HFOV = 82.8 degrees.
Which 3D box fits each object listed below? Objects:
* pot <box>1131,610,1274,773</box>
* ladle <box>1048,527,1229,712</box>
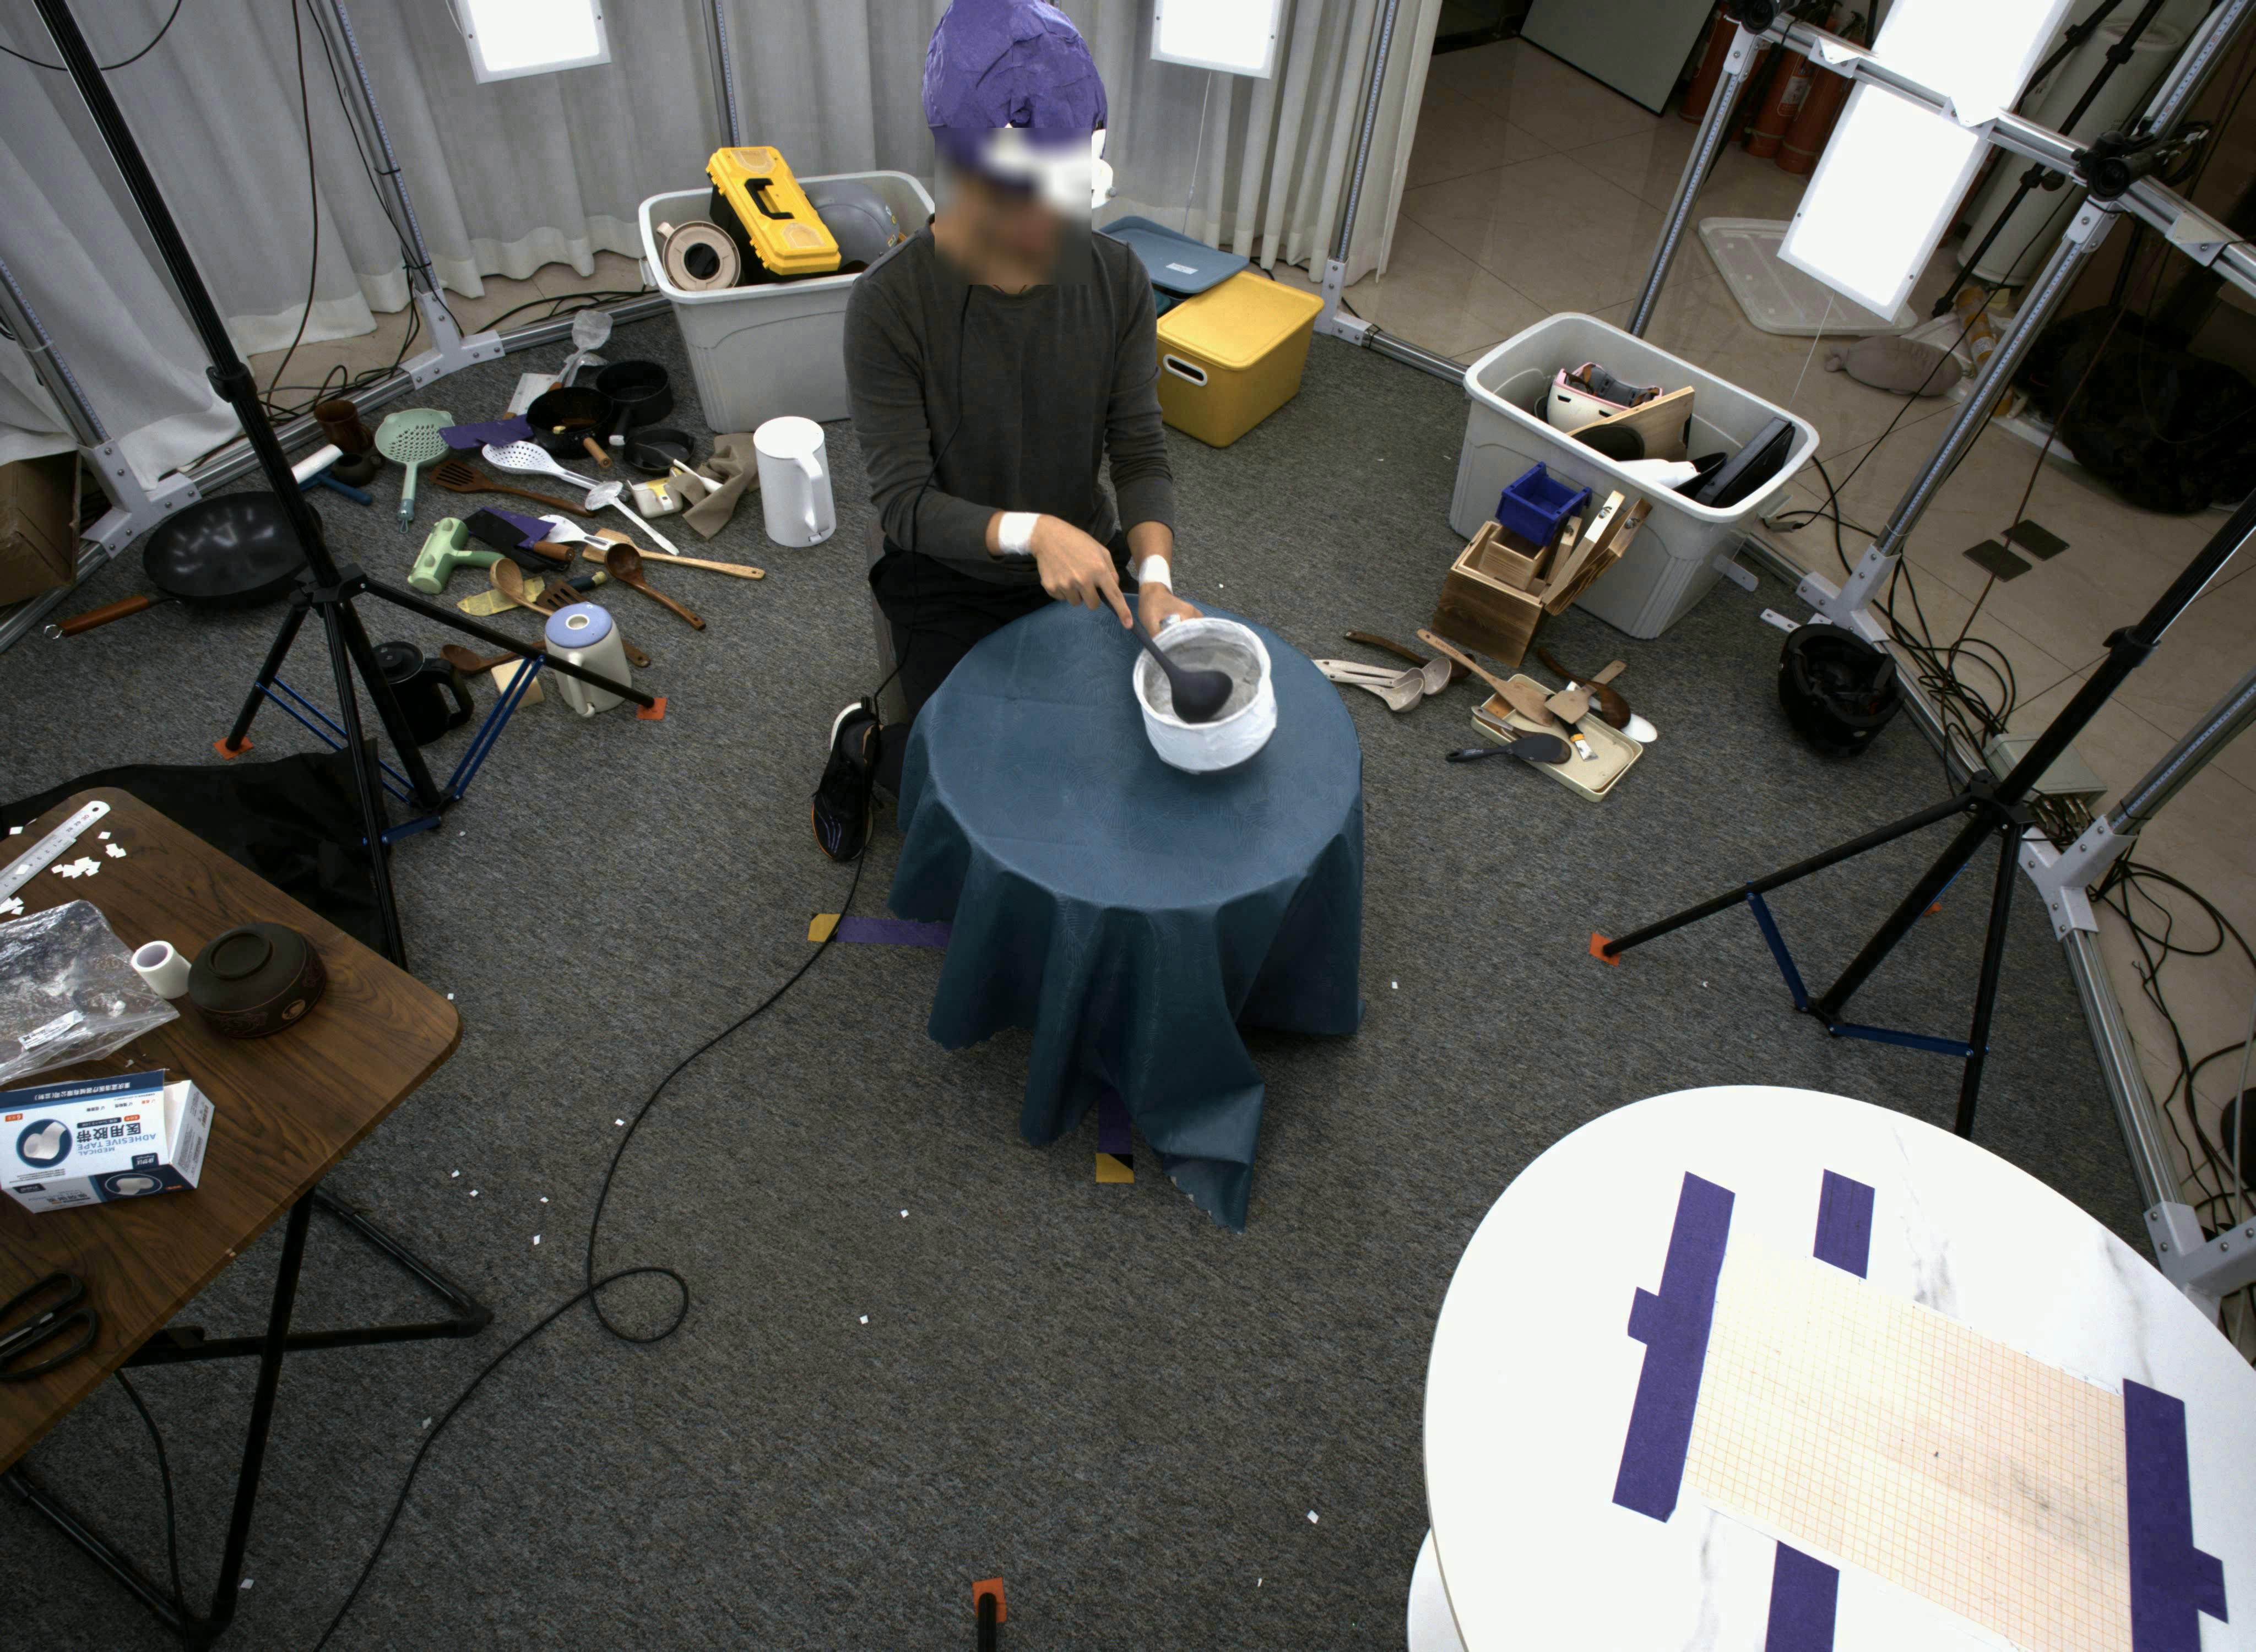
[{"bbox_3d":[0.090,-0.190,1.701,0.179,0.133,0.239,-23,56,-4],"label":"pot"},{"bbox_3d":[0.007,-0.279,1.698,0.317,0.085,0.064,48,15,12],"label":"ladle"}]
